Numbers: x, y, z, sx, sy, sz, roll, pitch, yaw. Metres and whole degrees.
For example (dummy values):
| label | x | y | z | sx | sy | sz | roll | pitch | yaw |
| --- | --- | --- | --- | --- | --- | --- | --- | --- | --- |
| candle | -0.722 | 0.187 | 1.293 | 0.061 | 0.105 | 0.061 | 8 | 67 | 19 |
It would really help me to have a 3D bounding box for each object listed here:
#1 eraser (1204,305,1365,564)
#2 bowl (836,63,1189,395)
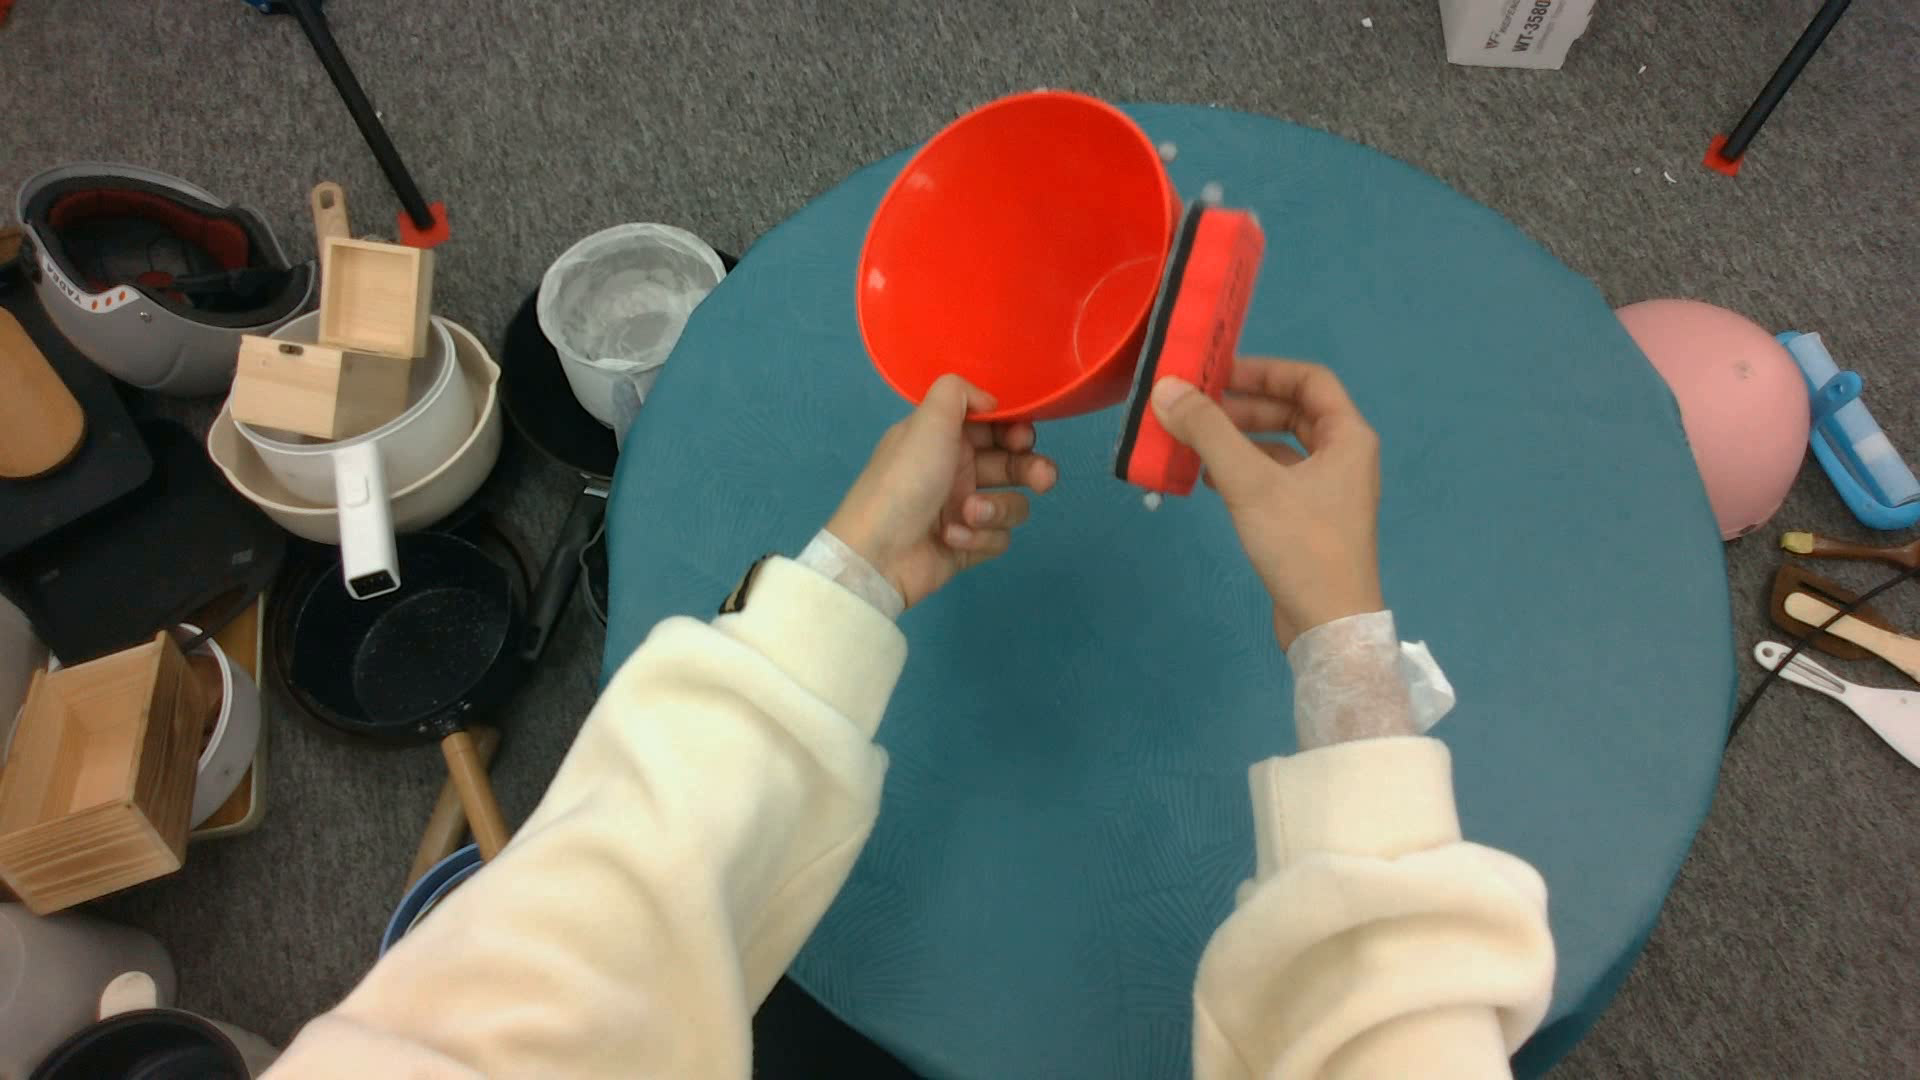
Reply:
| label | x | y | z | sx | sy | sz | roll | pitch | yaw |
| --- | --- | --- | --- | --- | --- | --- | --- | --- | --- |
| eraser | 0.147 | -0.047 | 0.618 | 0.023 | 0.059 | 0.108 | 20 | 82 | 34 |
| bowl | 0.035 | -0.122 | 0.604 | 0.147 | 0.105 | 0.148 | -14 | 66 | 36 |
